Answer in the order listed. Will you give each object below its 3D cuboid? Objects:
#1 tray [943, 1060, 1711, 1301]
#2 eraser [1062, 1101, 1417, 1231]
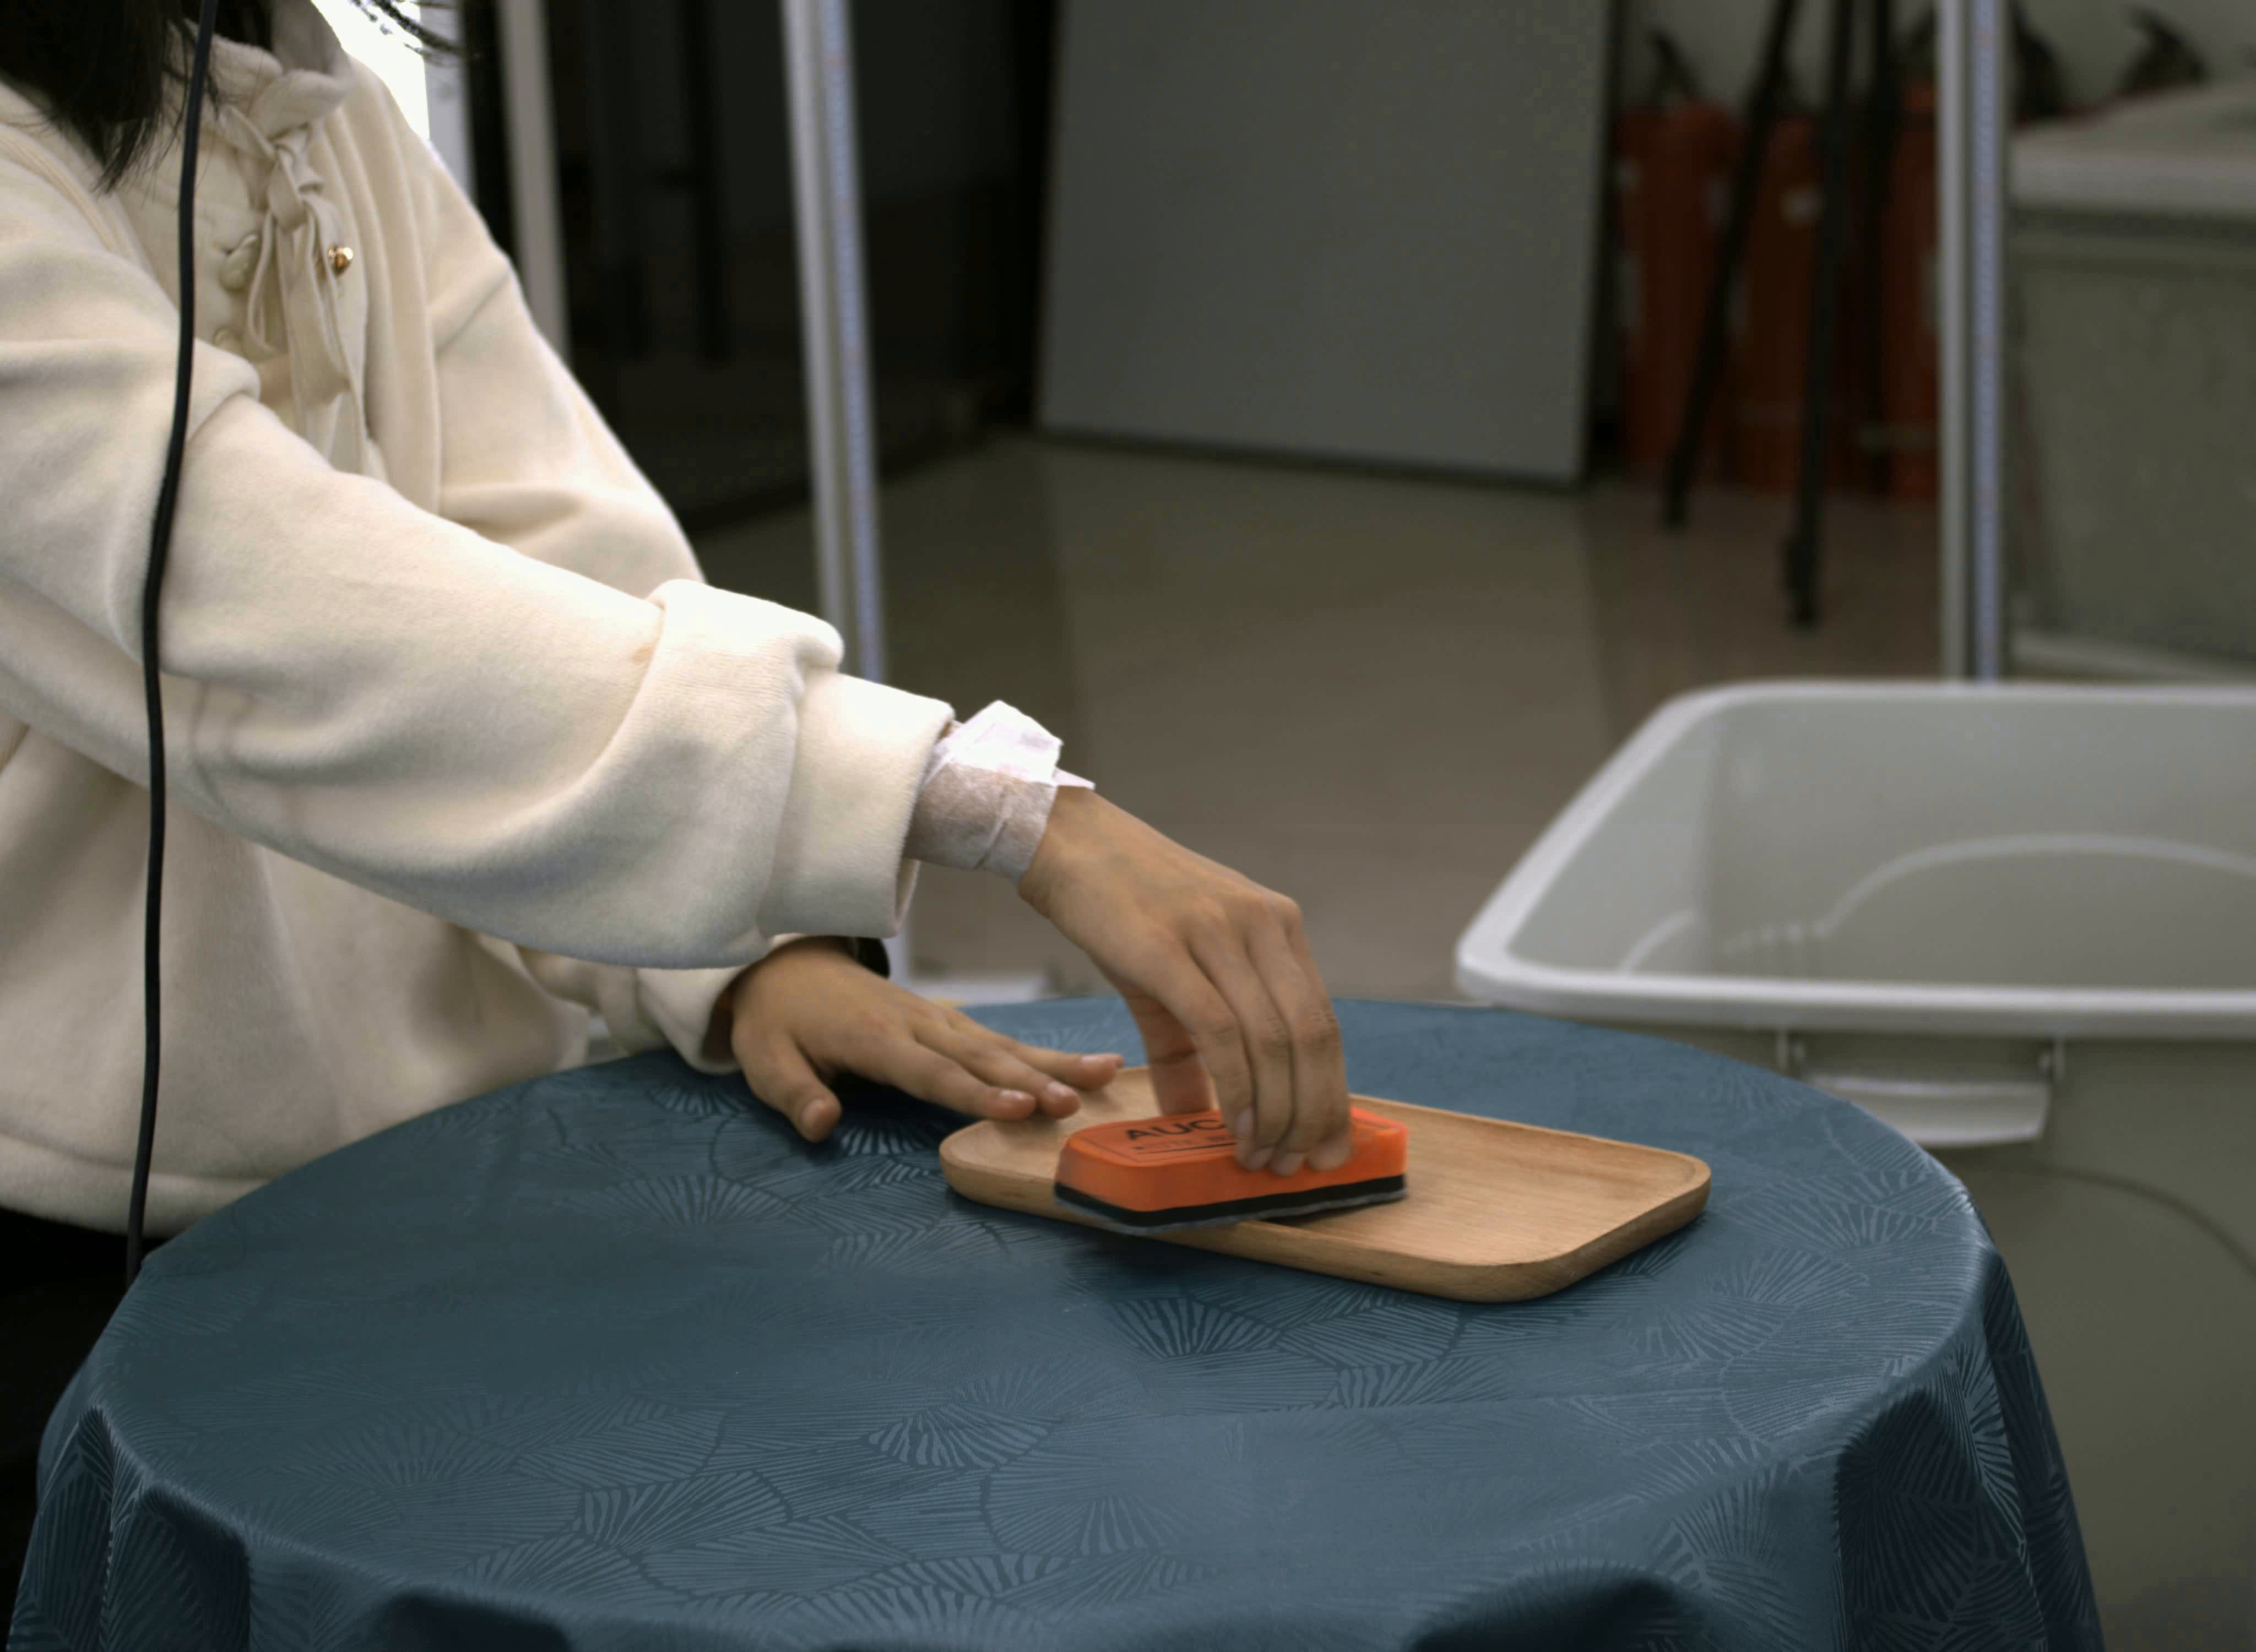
[{"bbox_3d":[0.062,0.113,1.745,0.253,0.023,0.128,8,15,41],"label":"tray"},{"bbox_3d":[0.036,0.108,1.714,0.105,0.023,0.059,-5,11,-27],"label":"eraser"}]
